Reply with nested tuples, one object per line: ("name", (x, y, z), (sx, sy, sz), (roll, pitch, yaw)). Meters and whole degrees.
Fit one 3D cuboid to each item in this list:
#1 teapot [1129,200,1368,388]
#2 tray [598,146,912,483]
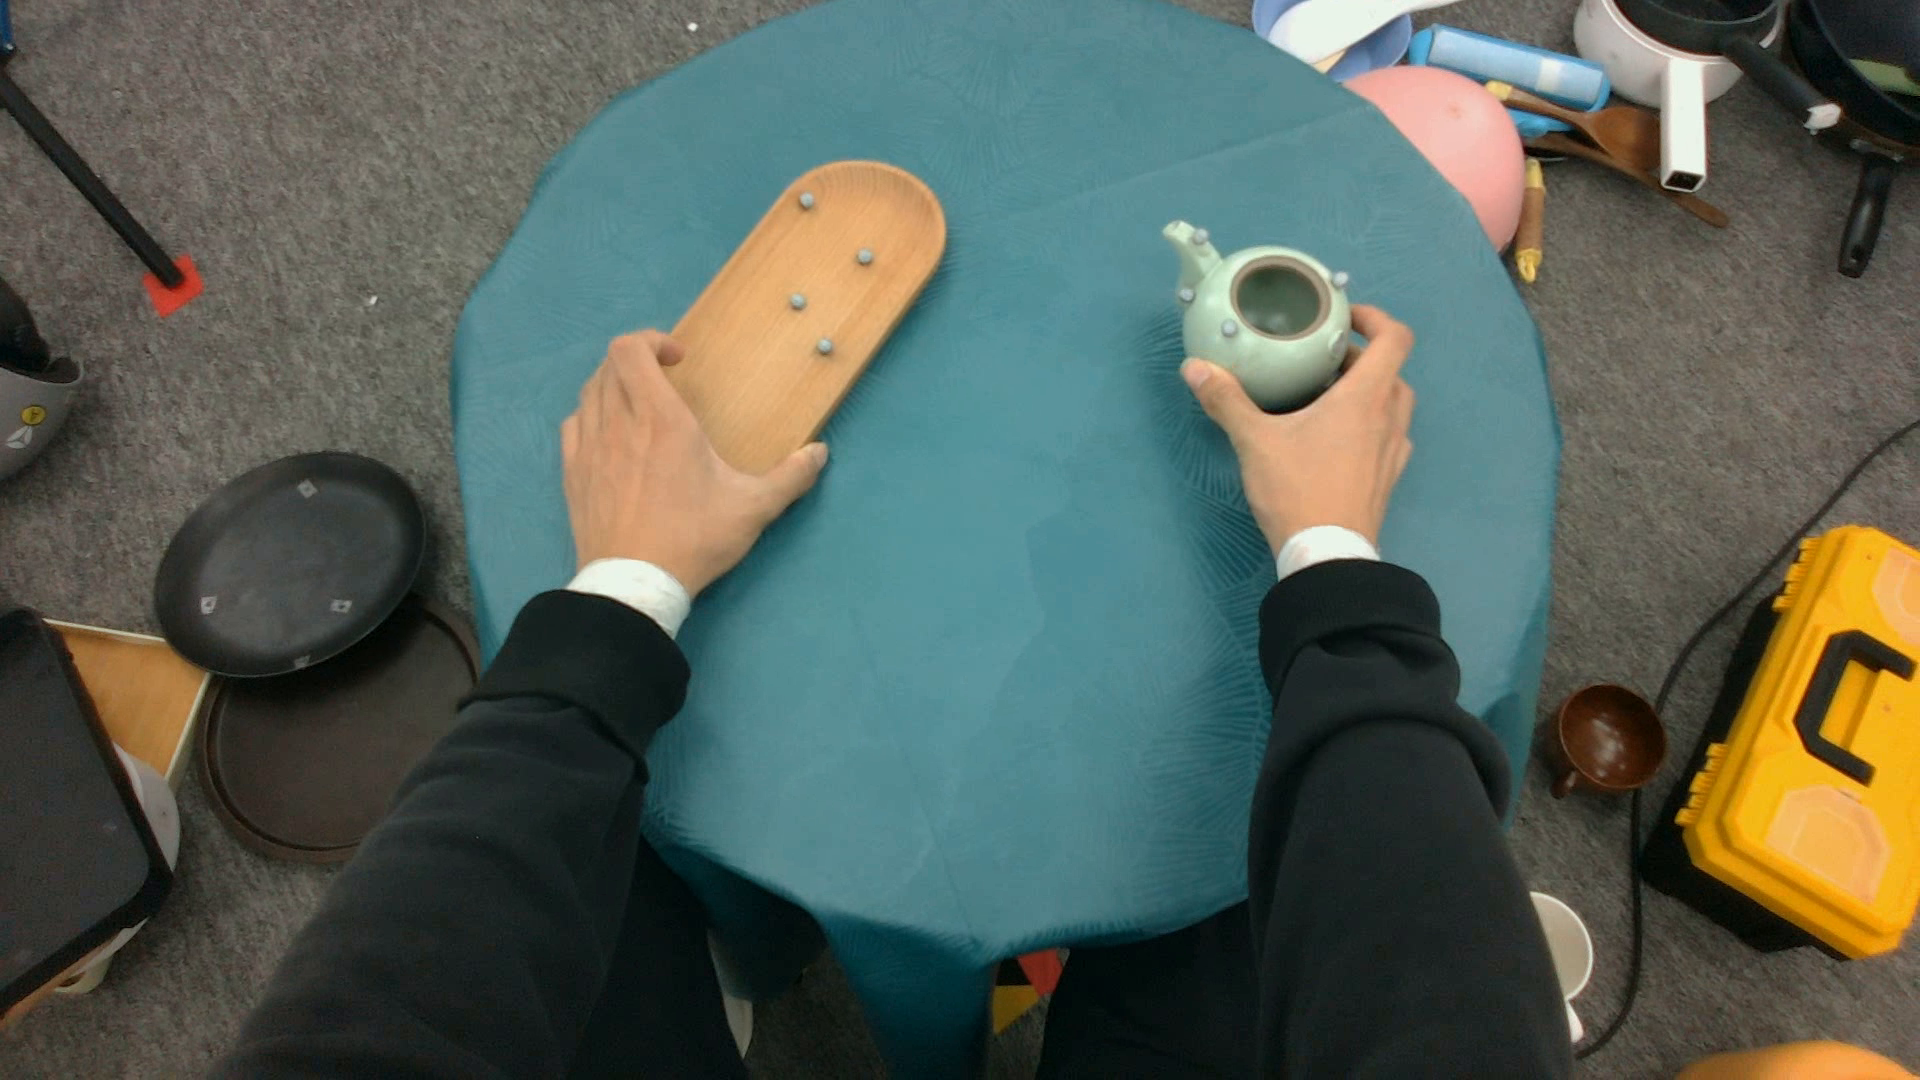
("teapot", (0.148, -0.126, 0.740), (0.144, 0.074, 0.088), (35, 69, 14))
("tray", (-0.109, -0.128, 0.758), (0.101, 0.020, 0.232), (26, 69, 12))
